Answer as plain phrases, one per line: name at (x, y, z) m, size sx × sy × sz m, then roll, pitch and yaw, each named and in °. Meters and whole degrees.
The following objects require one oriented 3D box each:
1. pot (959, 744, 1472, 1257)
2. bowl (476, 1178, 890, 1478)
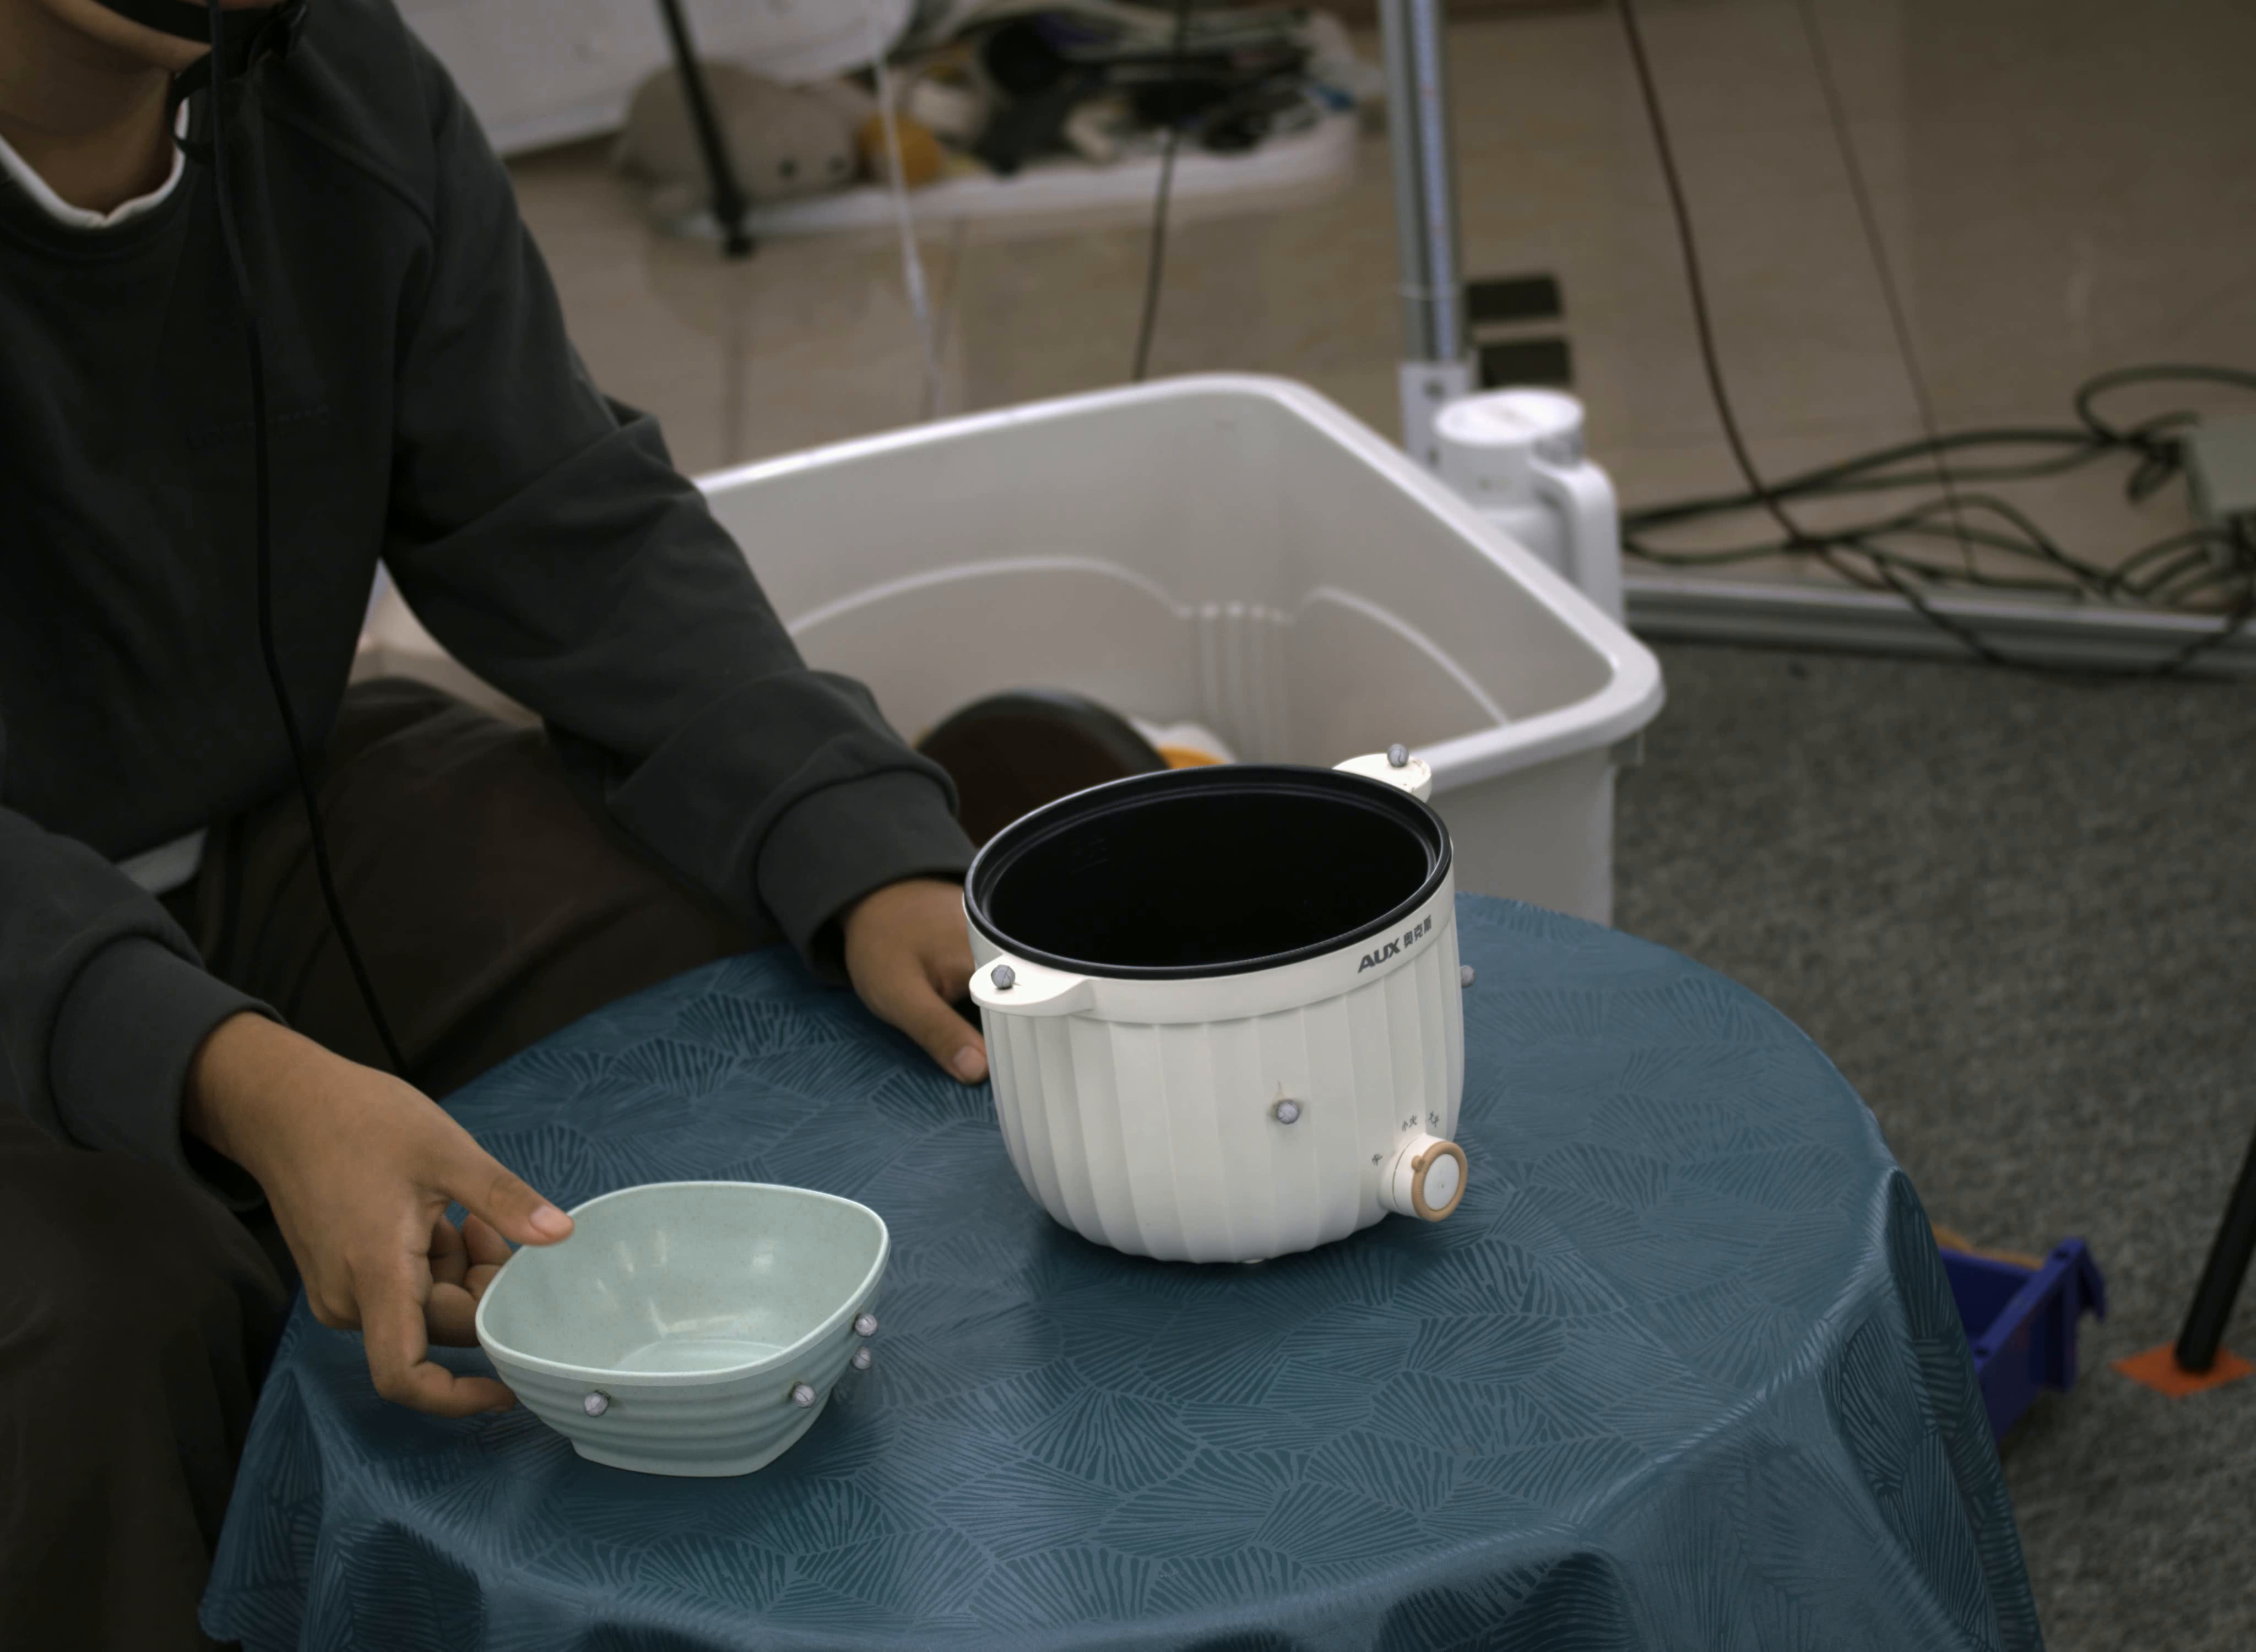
pot at (0.040, 0.072, 2.113) m, size 0.189 × 0.145 × 0.238 m, roll 11°, pitch 32°, yaw 40°
bowl at (-0.155, 0.184, 2.019) m, size 0.151 × 0.059 × 0.149 m, roll -4°, pitch 26°, yaw 2°
